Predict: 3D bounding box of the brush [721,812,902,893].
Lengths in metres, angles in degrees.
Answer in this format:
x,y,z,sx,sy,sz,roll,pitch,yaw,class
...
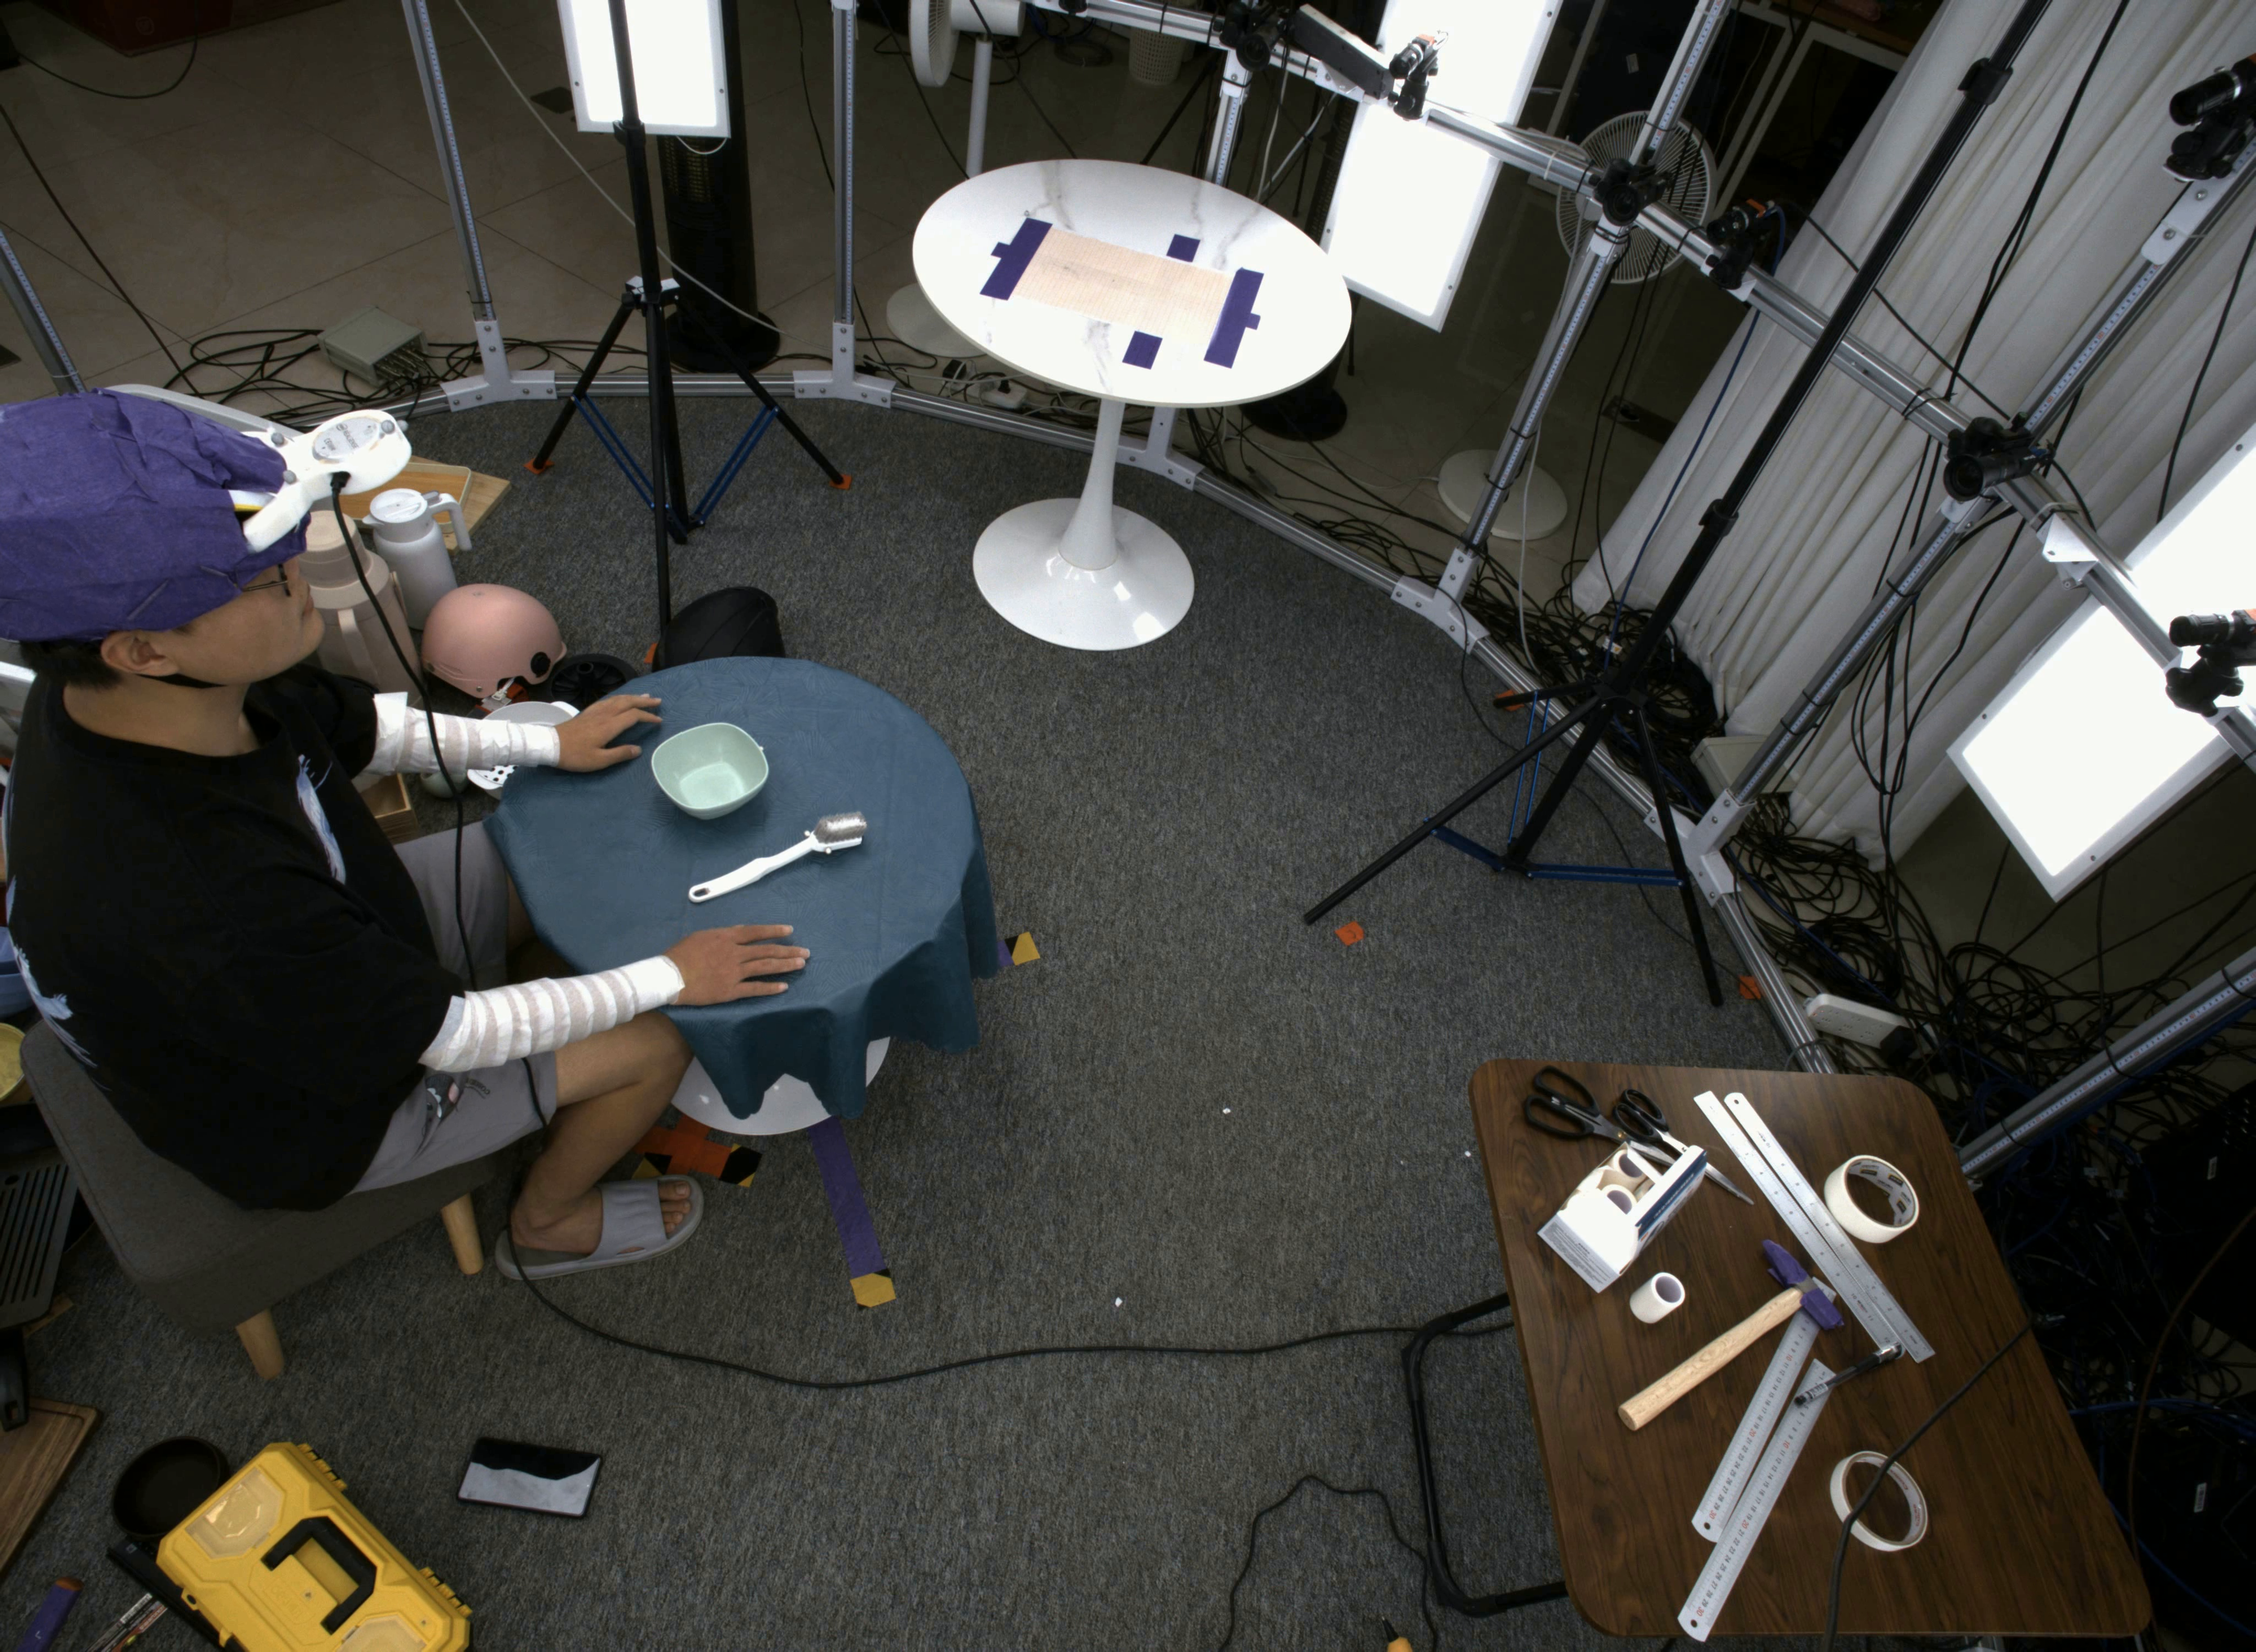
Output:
x,y,z,sx,sy,sz,roll,pitch,yaw,class
-0.410,0.030,1.684,0.245,0.051,0.033,-18,60,-25,brush

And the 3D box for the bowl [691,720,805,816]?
x,y,z,sx,sy,sz,roll,pitch,yaw,class
-0.507,-0.069,1.729,0.151,0.060,0.148,7,51,-7,bowl
